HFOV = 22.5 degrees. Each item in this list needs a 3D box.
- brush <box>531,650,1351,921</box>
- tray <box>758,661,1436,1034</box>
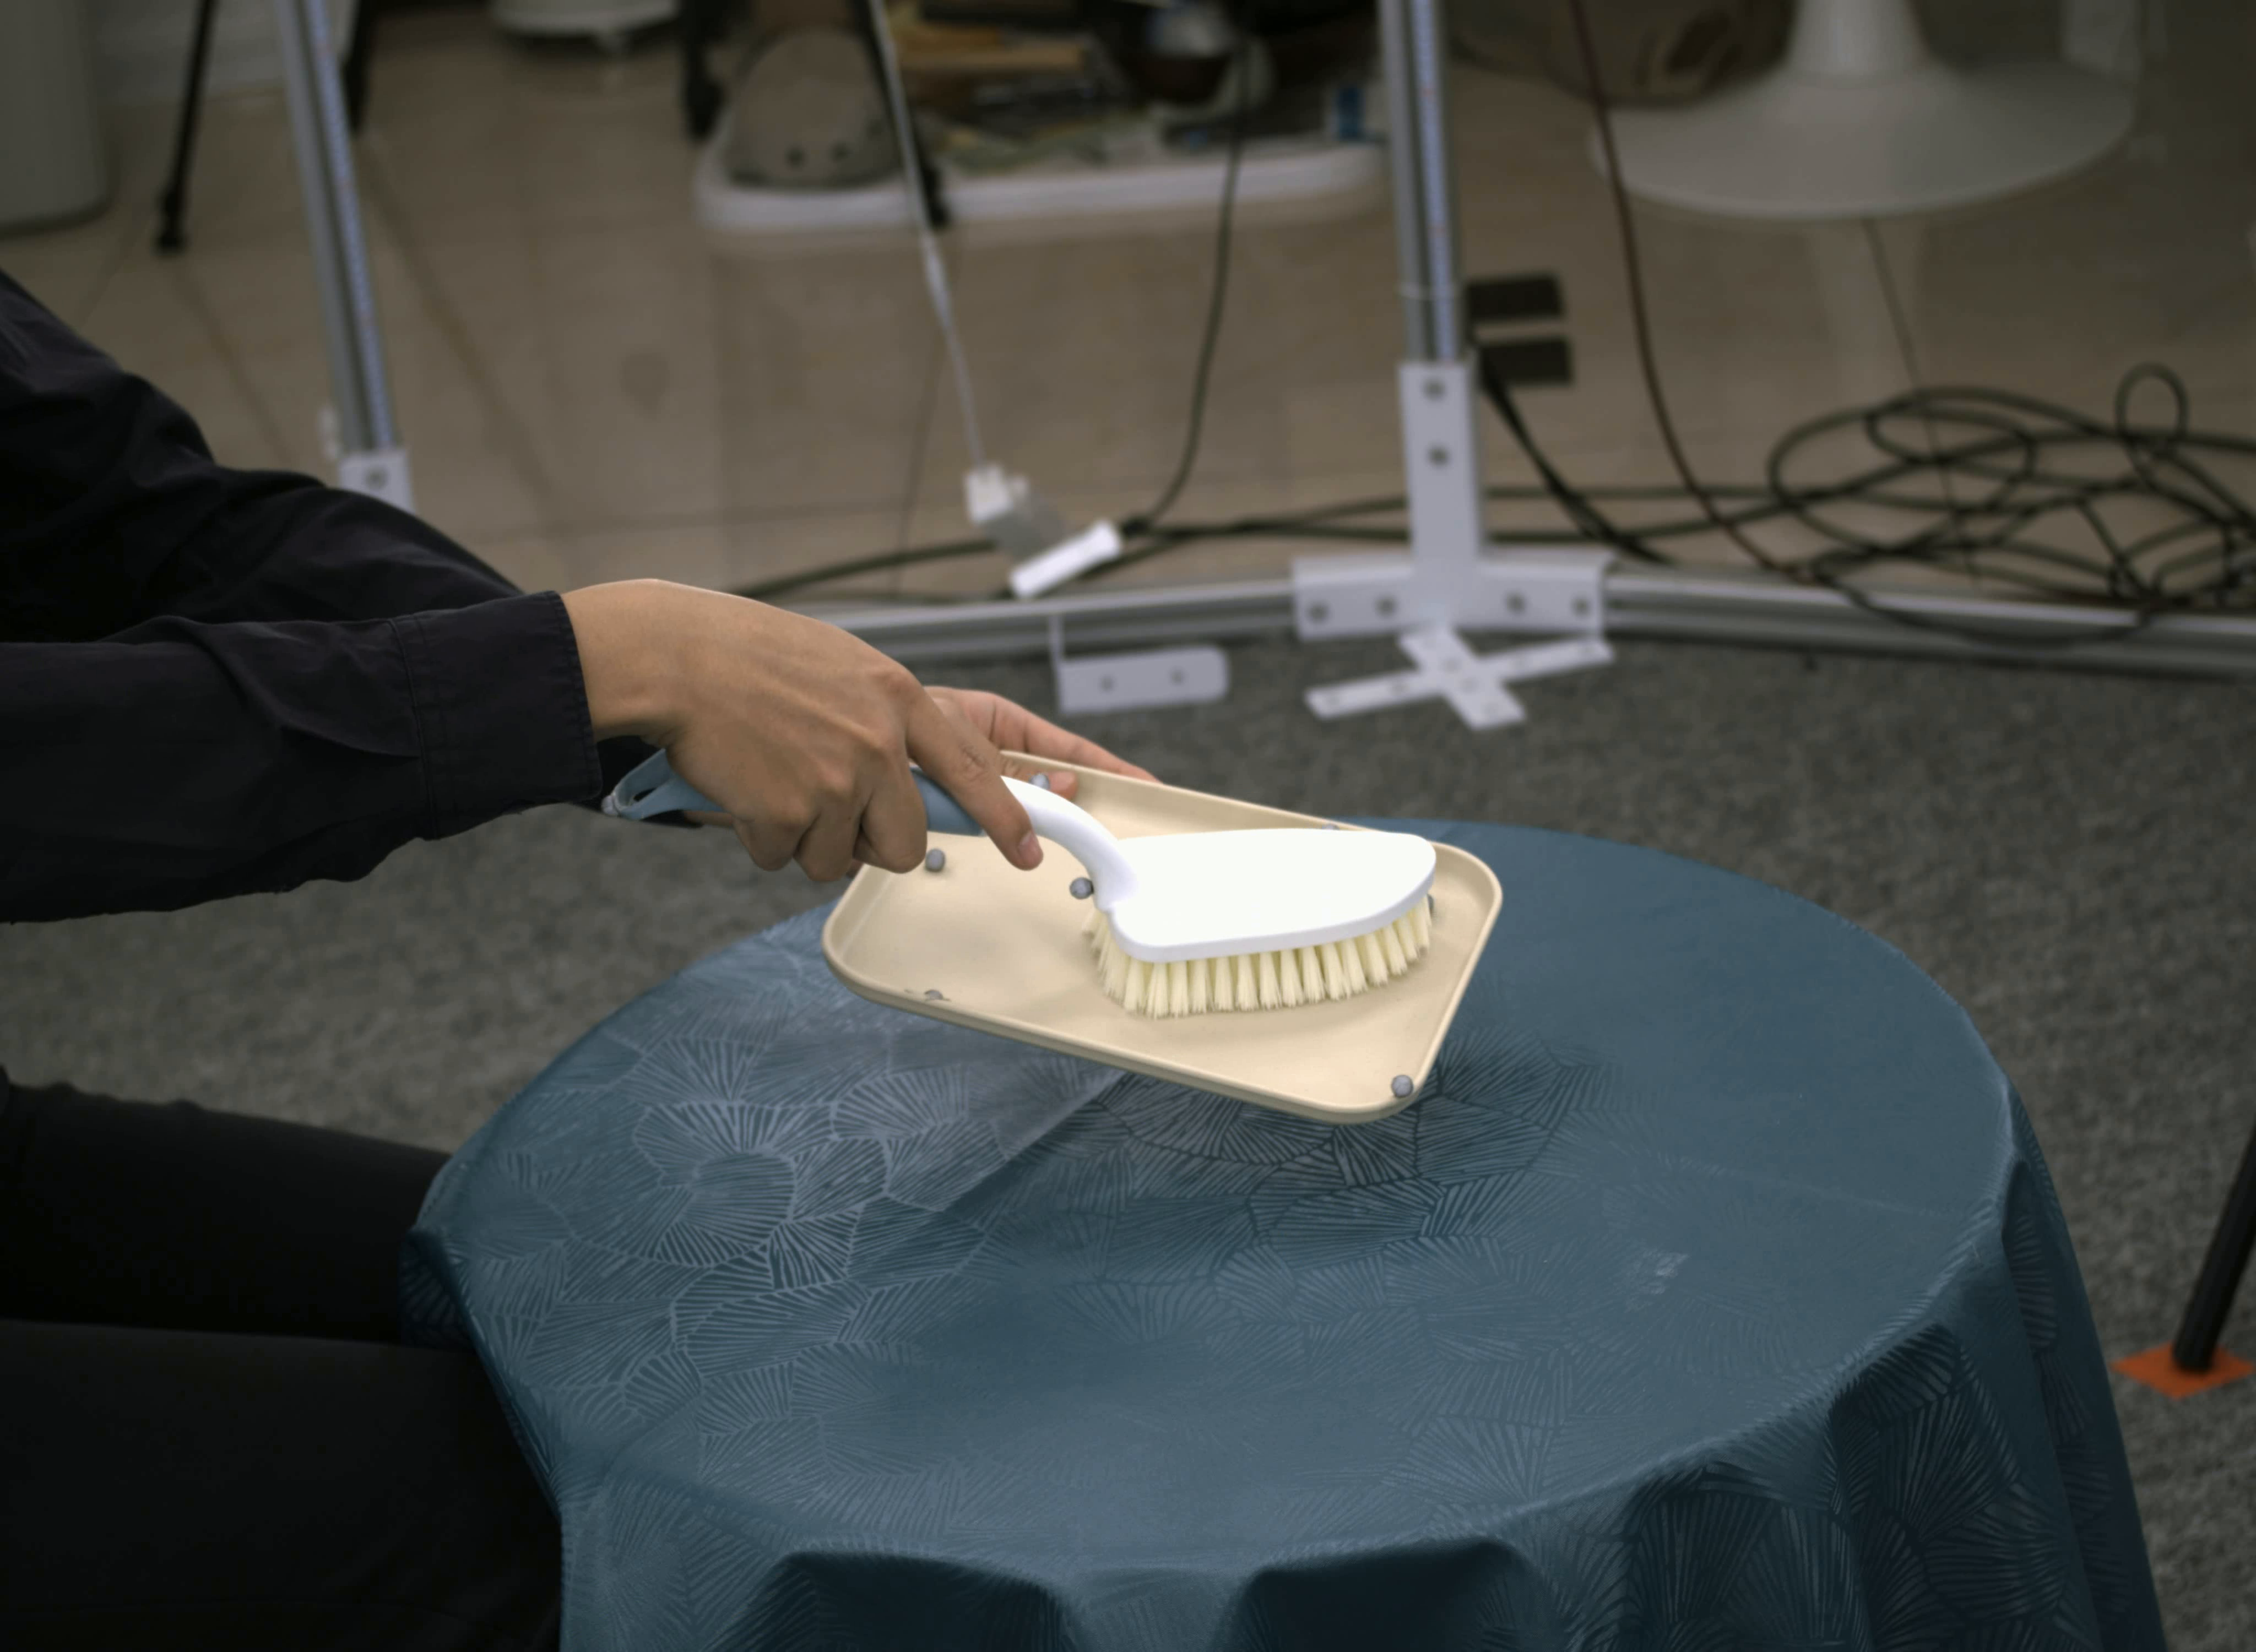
[{"bbox_3d":[-0.072,-0.010,2.150,0.325,0.084,0.083,5,-2,-17],"label":"brush"},{"bbox_3d":[-0.011,0.008,2.189,0.239,0.018,0.168,14,39,13],"label":"tray"}]
